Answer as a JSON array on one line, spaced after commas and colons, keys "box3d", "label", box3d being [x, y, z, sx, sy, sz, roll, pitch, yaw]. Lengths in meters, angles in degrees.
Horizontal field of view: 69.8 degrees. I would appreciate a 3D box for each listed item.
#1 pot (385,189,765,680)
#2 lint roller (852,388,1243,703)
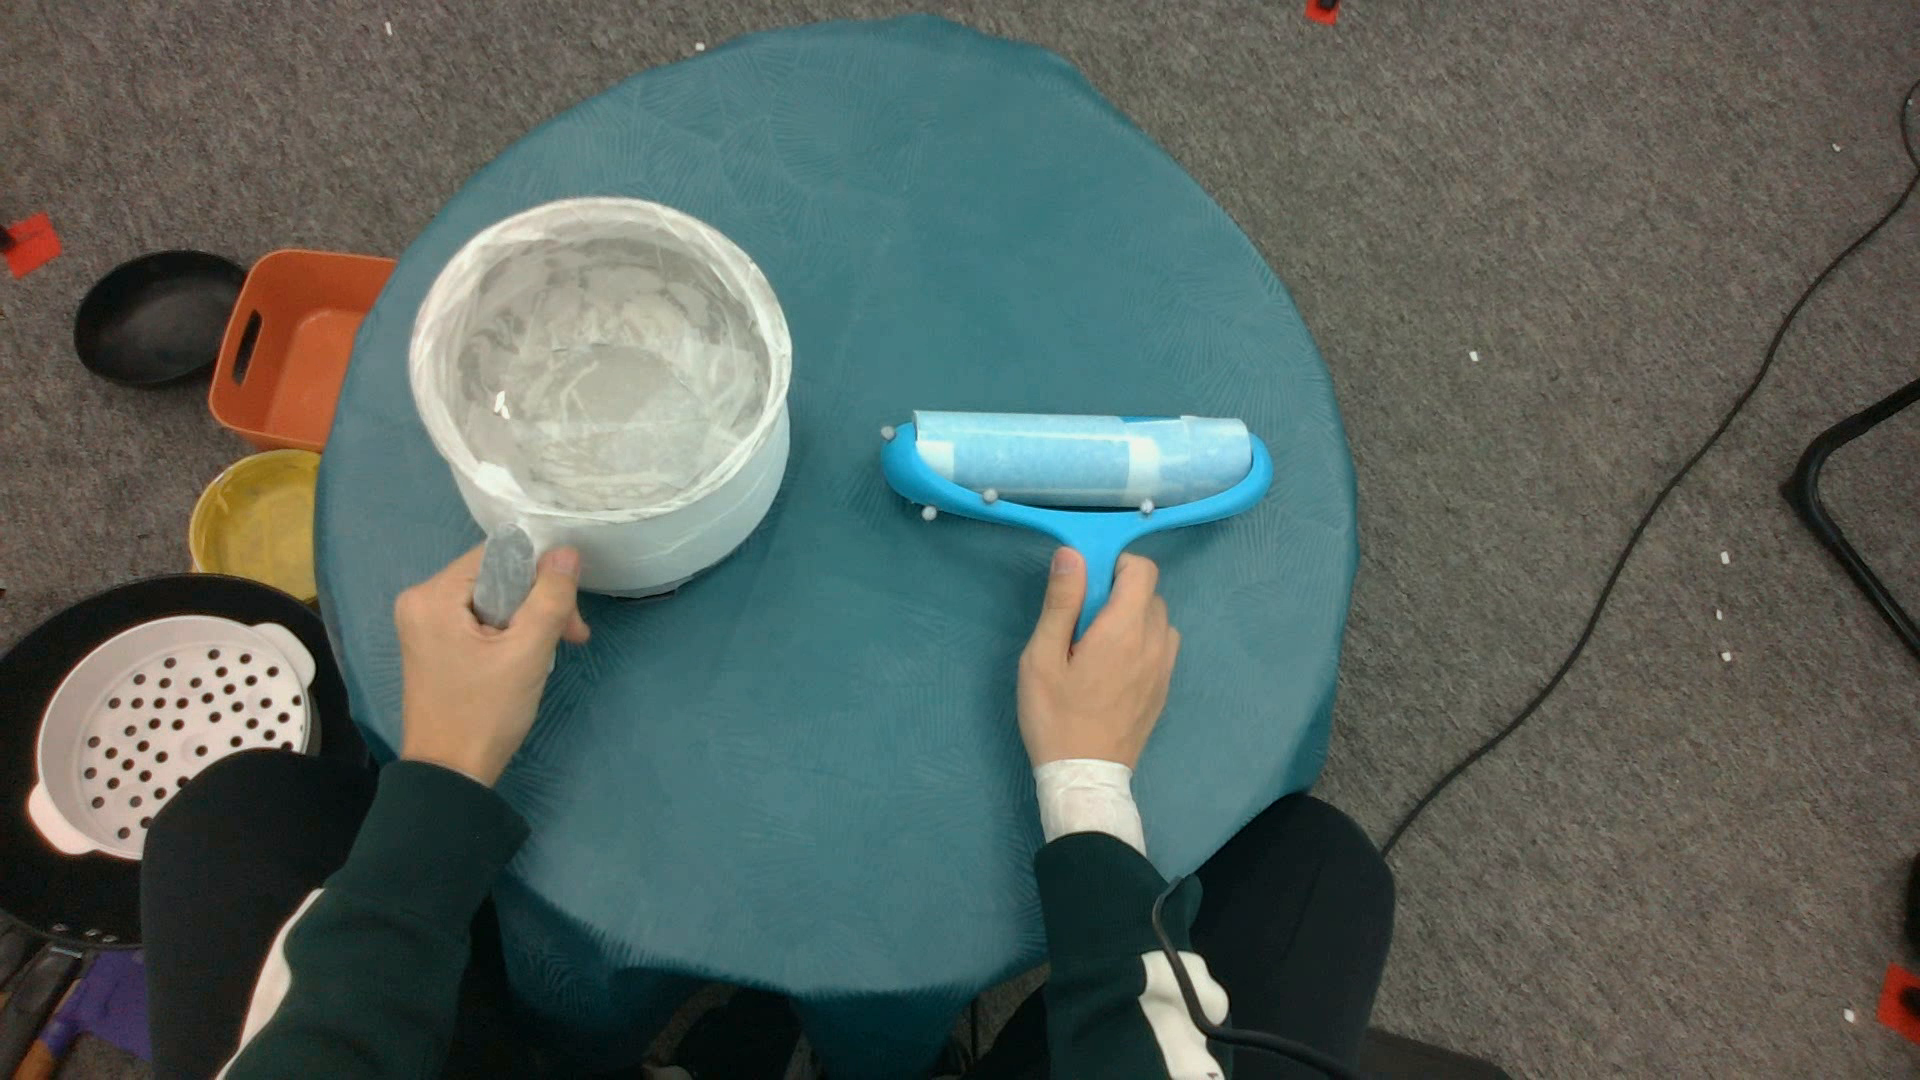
[{"box3d": [-0.200, -0.047, 0.708, 0.179, 0.136, 0.234, 18, 67, -1], "label": "pot"}, {"box3d": [0.060, -0.003, 0.777, 0.229, 0.067, 0.181, -4, 69, -12], "label": "lint roller"}]
